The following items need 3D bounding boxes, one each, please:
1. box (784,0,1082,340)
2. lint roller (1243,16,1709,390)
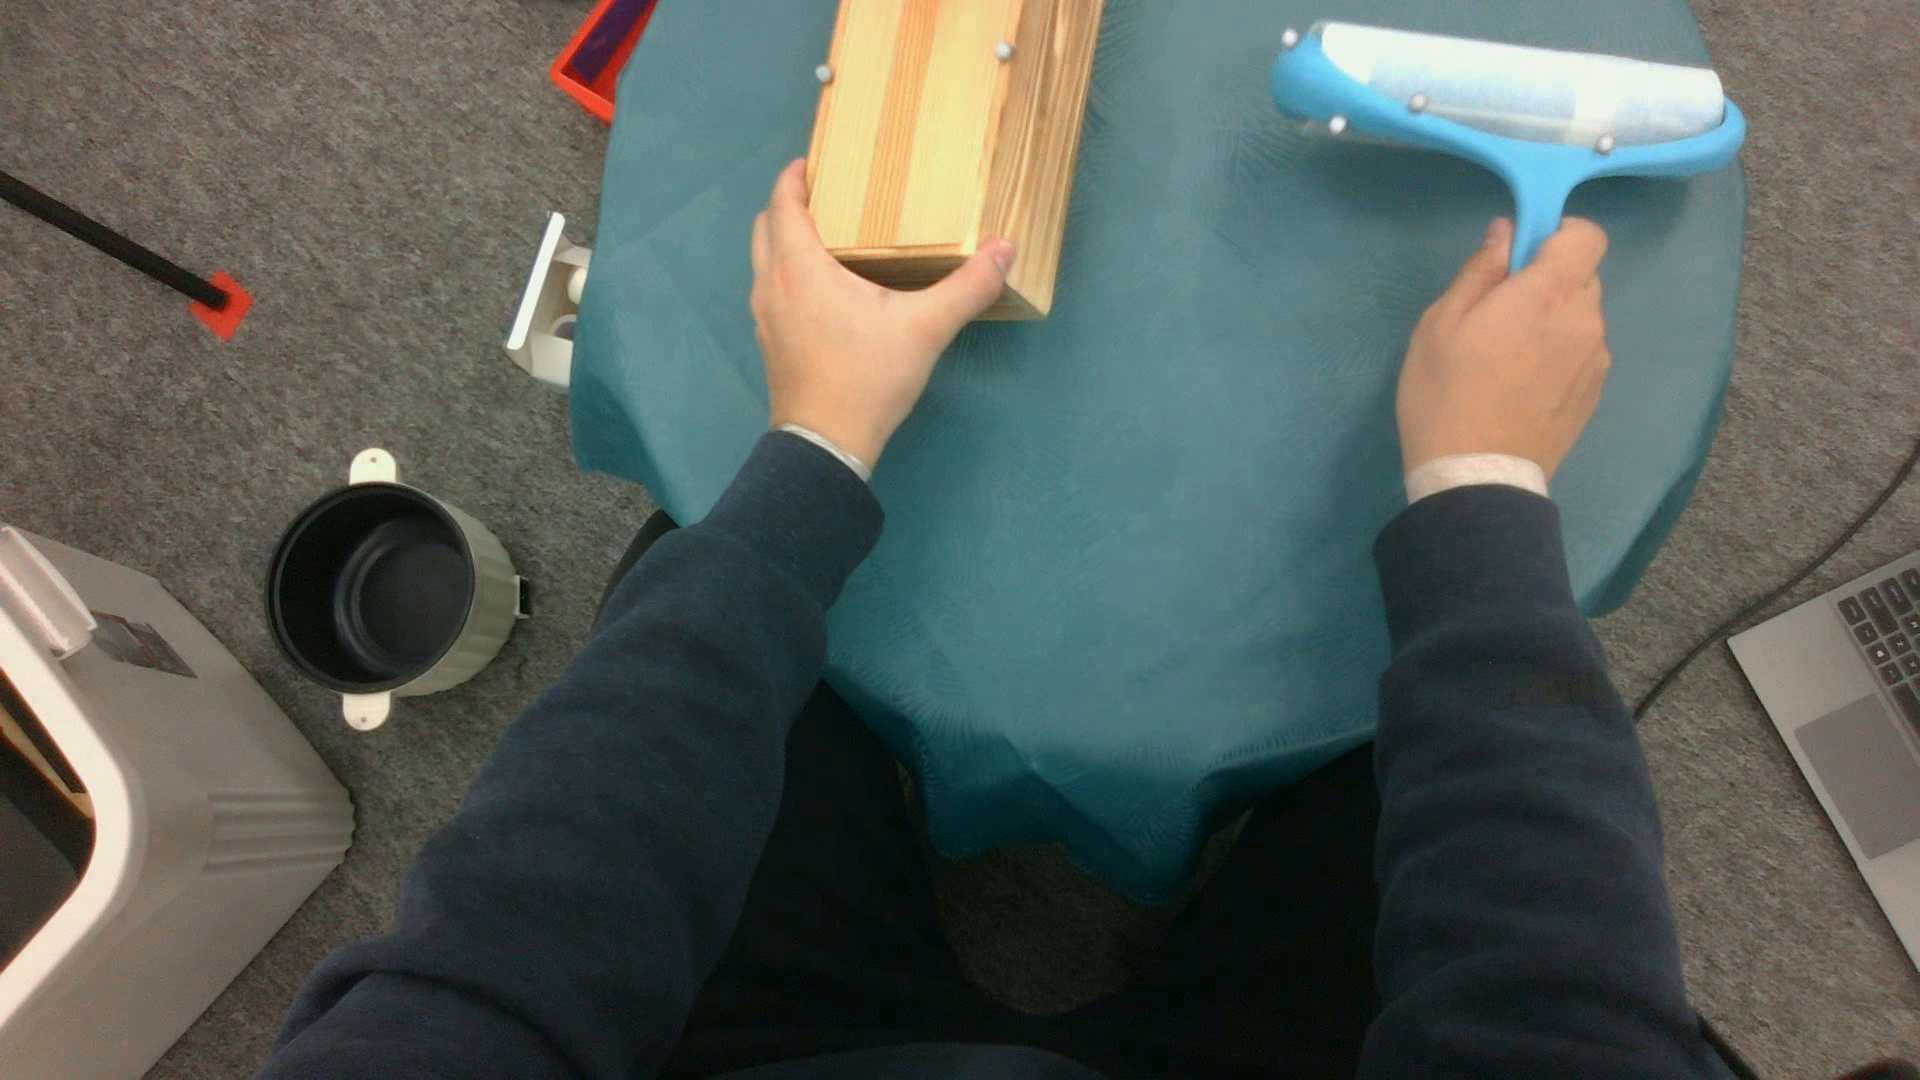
[{"bbox_3d":[-0.010,-0.217,0.701,0.107,0.080,0.212,1,78,31],"label":"box"},{"bbox_3d":[0.253,-0.166,0.657,0.229,0.067,0.181,2,69,-7],"label":"lint roller"}]
